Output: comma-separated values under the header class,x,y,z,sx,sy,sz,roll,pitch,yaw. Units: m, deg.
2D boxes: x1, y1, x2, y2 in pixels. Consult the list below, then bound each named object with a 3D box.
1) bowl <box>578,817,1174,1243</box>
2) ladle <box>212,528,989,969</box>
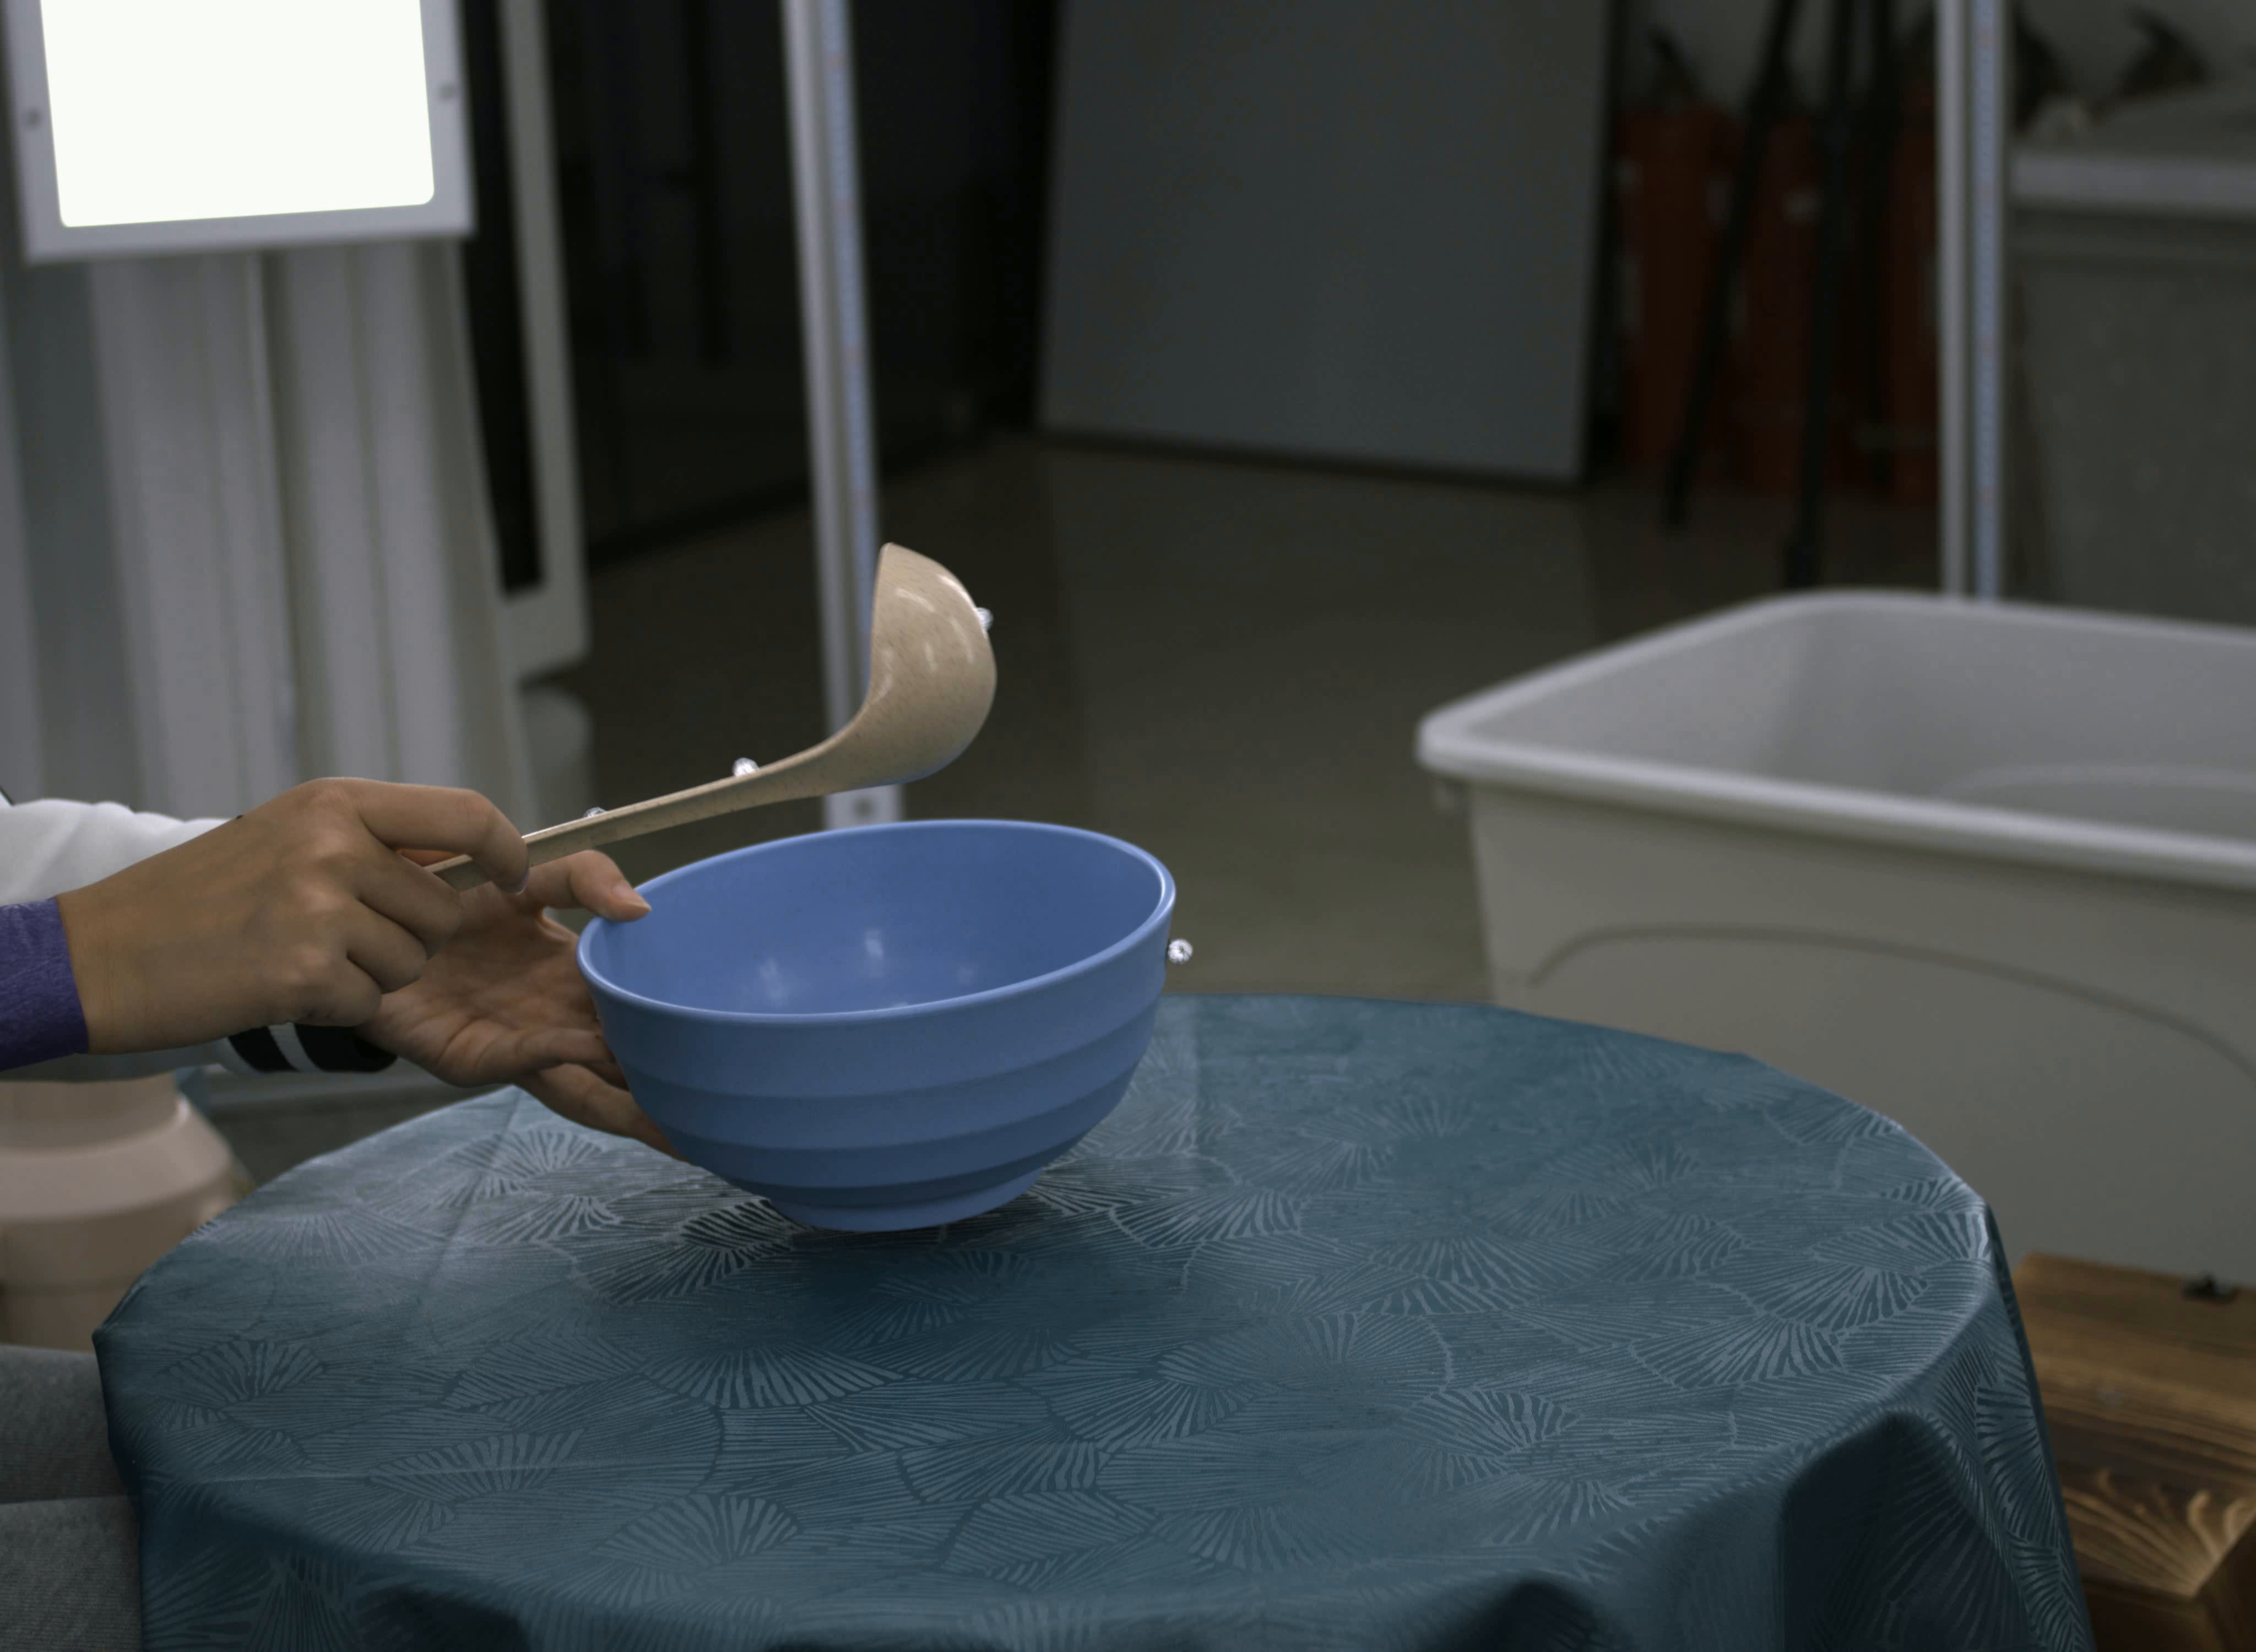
class,x,y,z,sx,sy,sz,roll,pitch,yaw
bowl,-0.077,0.074,1.760,0.194,0.096,0.197,-6,18,1
ladle,-0.164,-0.023,1.629,0.250,0.072,0.074,-18,46,-13
